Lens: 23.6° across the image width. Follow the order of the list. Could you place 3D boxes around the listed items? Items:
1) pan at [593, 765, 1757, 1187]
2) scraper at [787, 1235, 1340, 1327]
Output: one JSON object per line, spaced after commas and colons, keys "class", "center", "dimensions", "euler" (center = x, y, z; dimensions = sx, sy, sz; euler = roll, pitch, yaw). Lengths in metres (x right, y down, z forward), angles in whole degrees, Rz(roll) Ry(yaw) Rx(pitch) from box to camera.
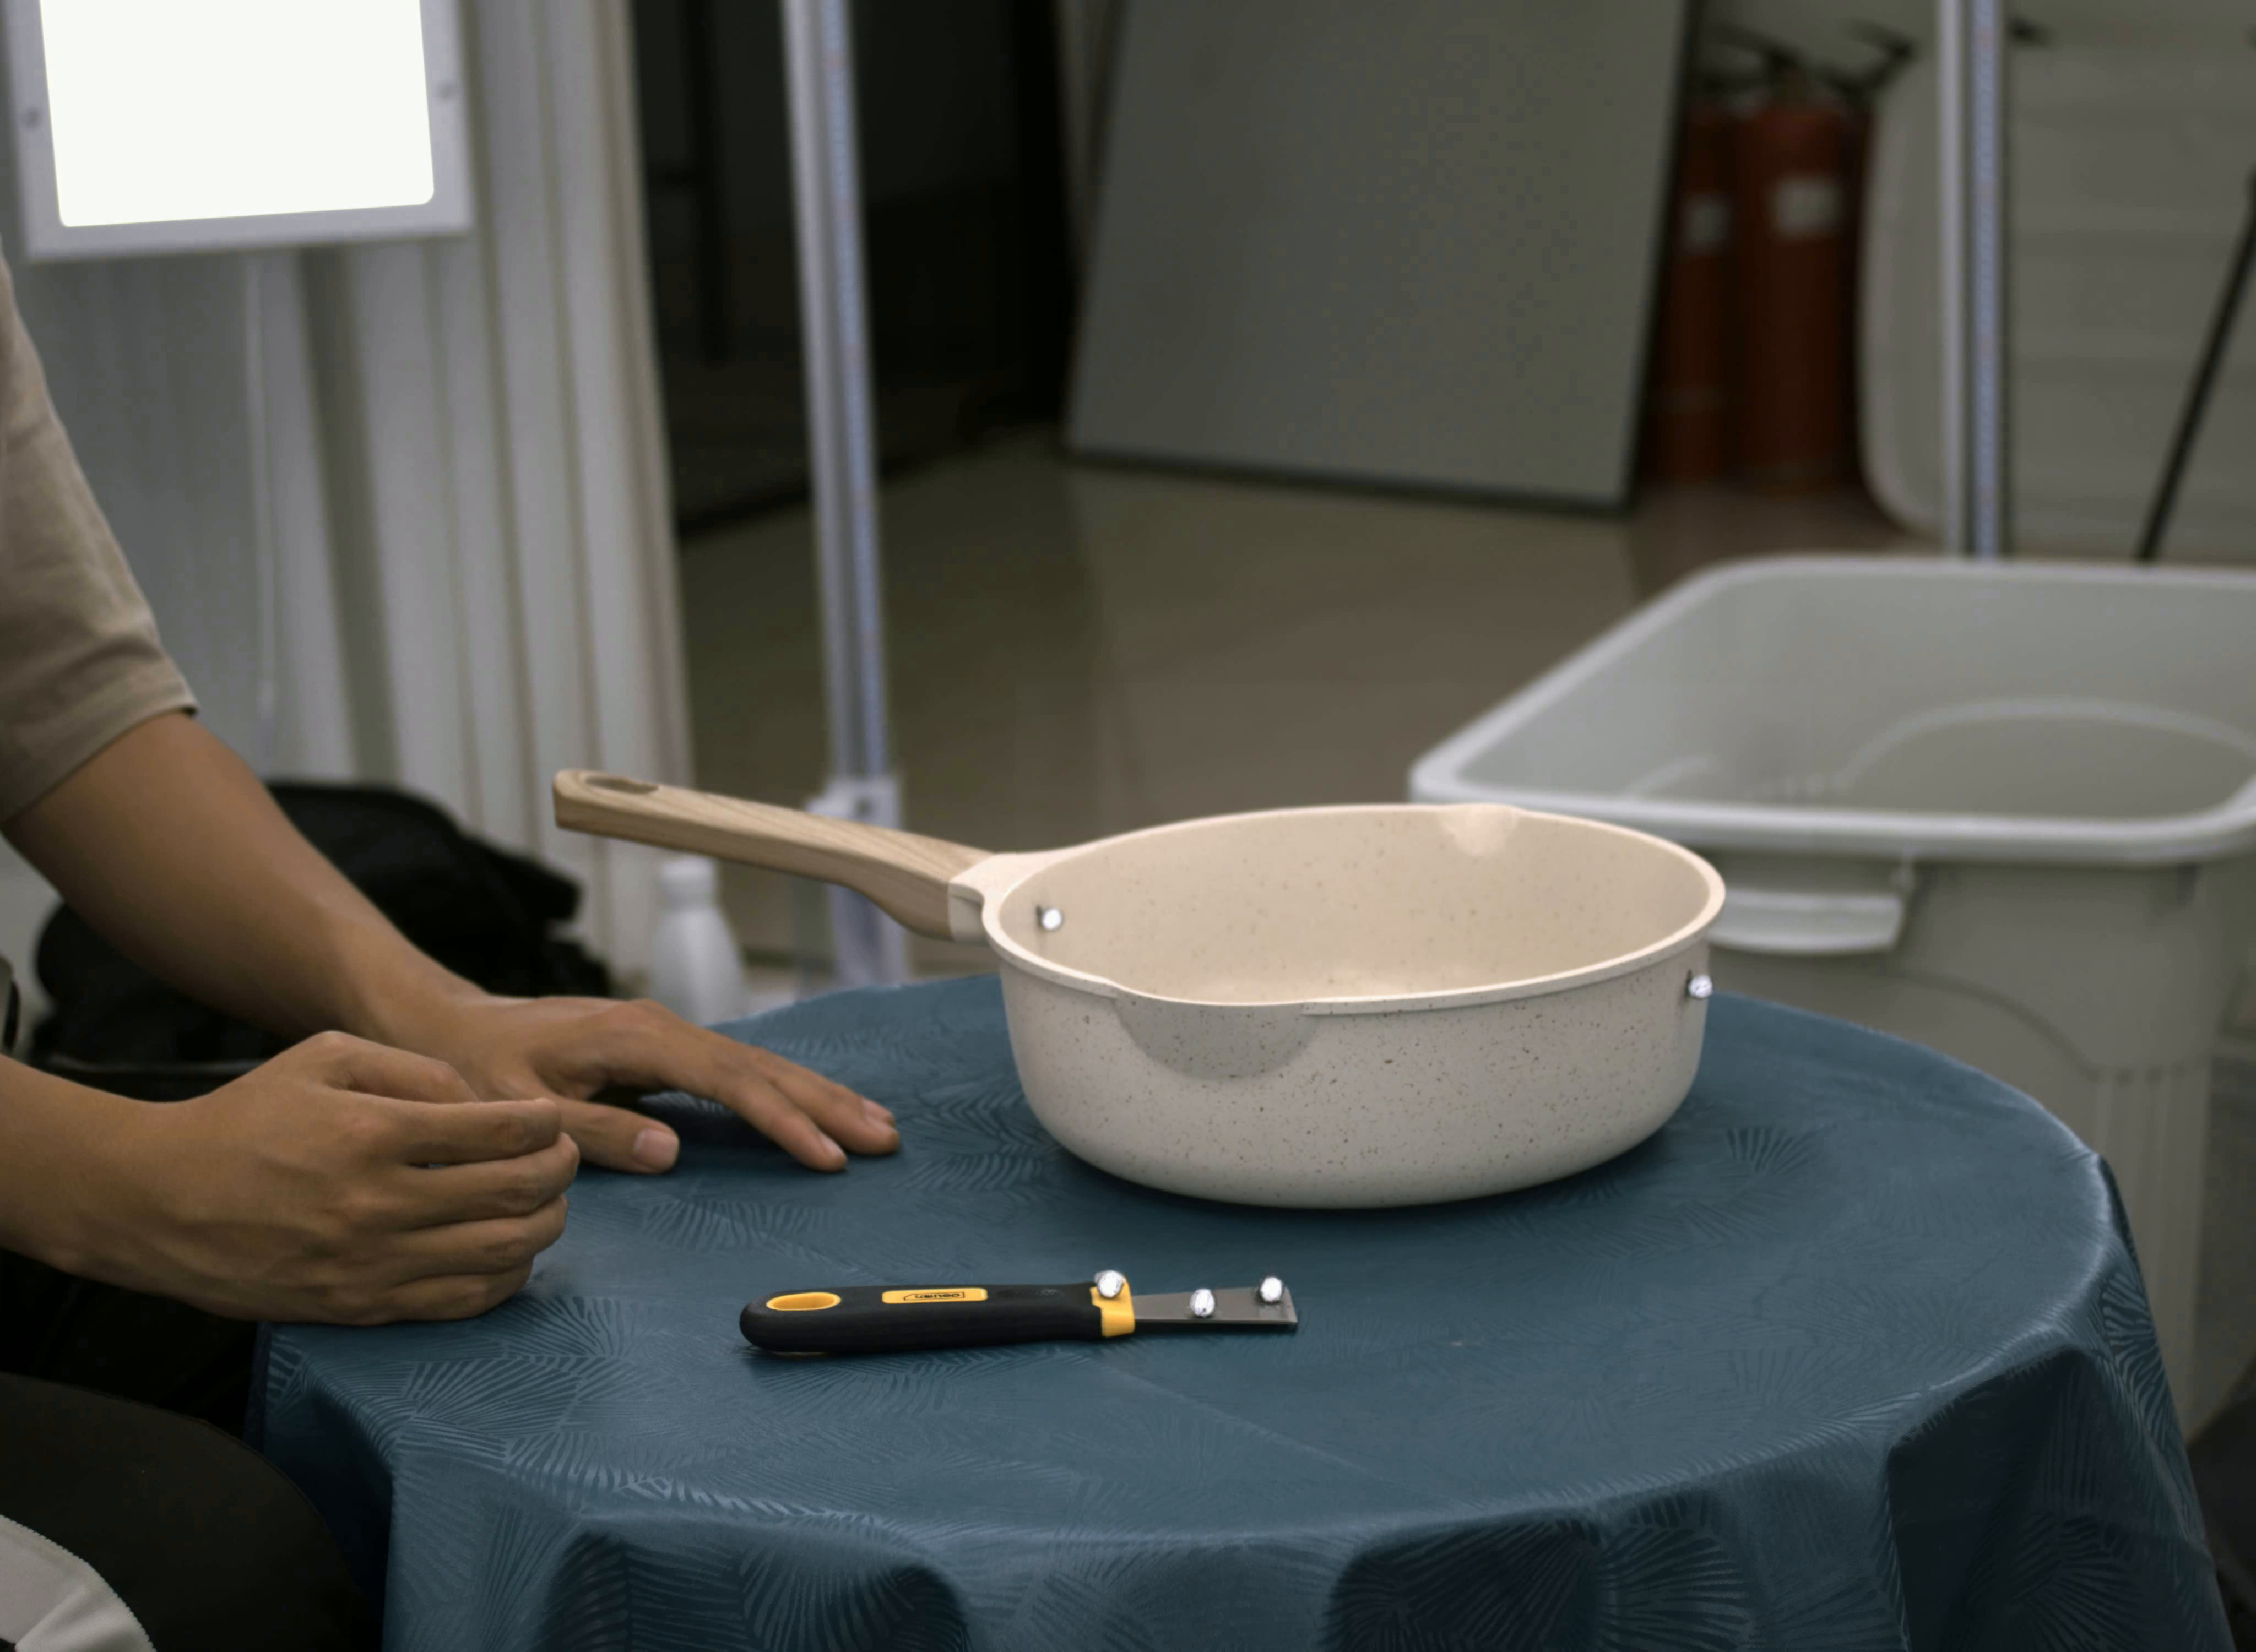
{"class": "pan", "center": [0.009, 0.042, 1.876], "dimensions": [0.435, 0.103, 0.260], "euler": [3, 17, 26]}
{"class": "scraper", "center": [-0.020, 0.138, 1.649], "dimensions": [0.168, 0.015, 0.039], "euler": [-3, 18, -4]}
